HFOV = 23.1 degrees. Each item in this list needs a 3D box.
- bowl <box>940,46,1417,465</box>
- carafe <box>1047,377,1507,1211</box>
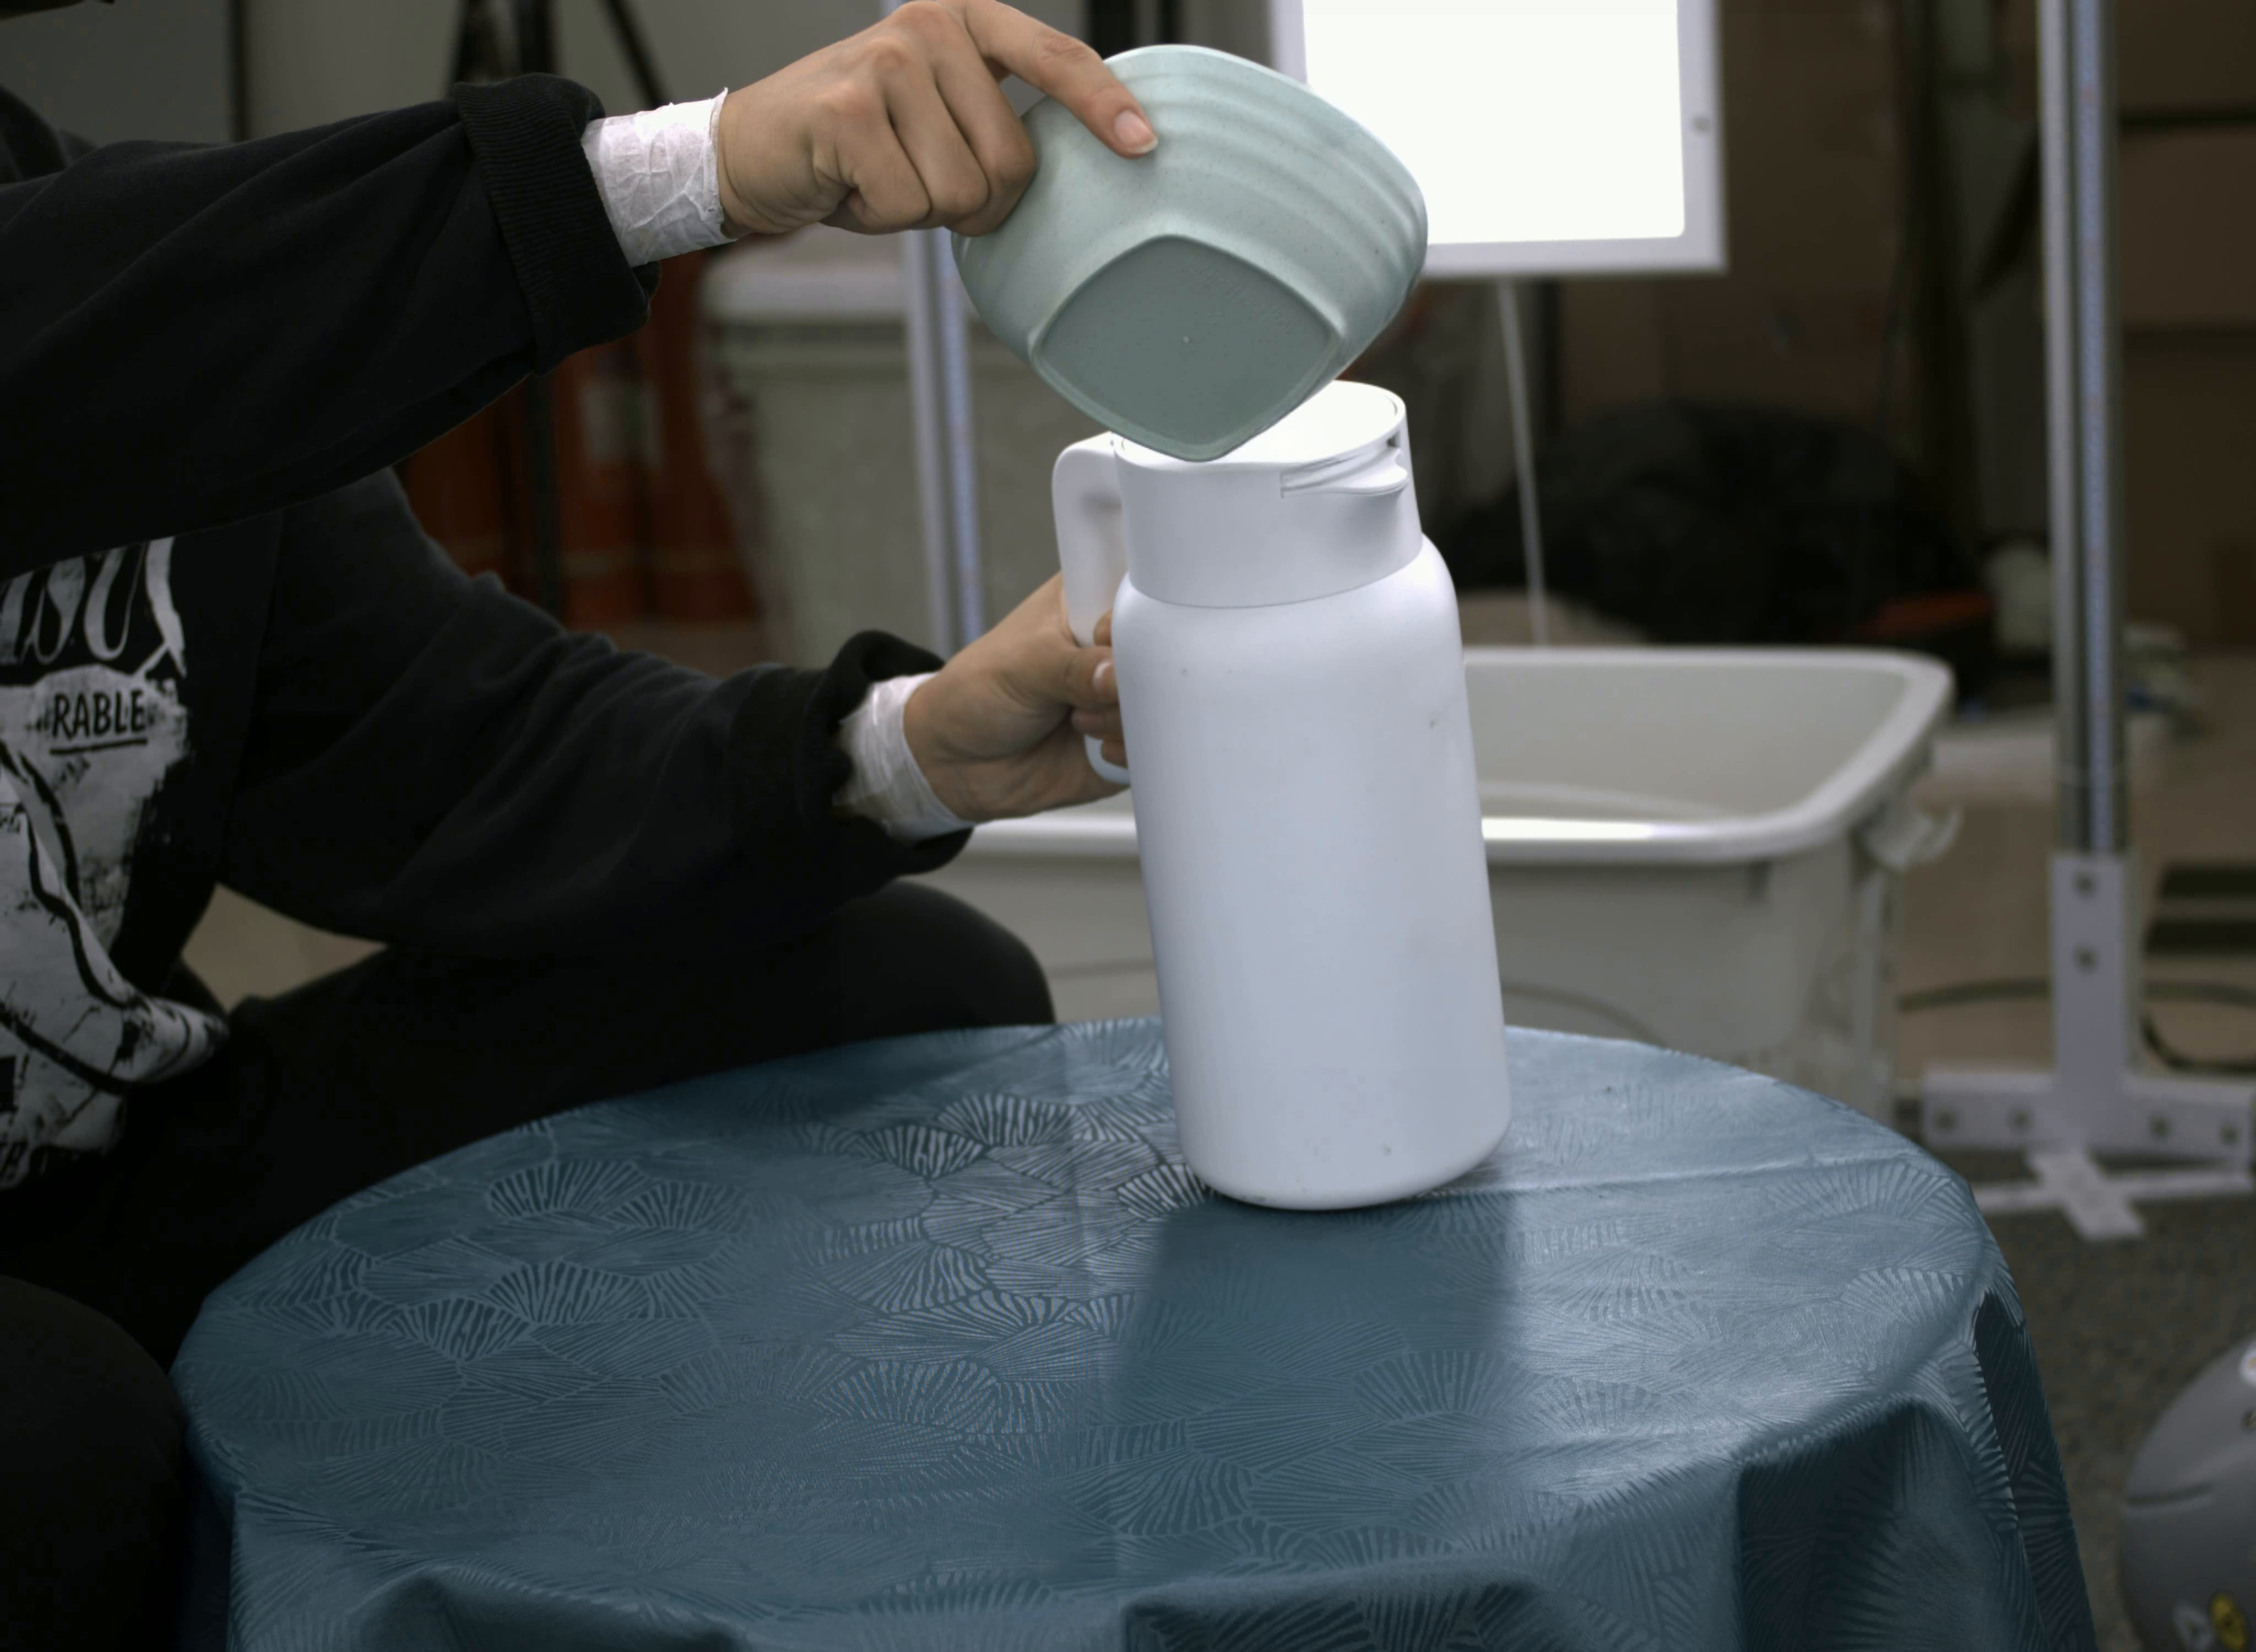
[{"bbox_3d":[0.016,-0.167,1.711,0.152,0.151,0.058,-2,48,7],"label":"bowl"},{"bbox_3d":[0.047,-0.014,1.871,0.121,0.269,0.176,-25,26,-33],"label":"carafe"}]
